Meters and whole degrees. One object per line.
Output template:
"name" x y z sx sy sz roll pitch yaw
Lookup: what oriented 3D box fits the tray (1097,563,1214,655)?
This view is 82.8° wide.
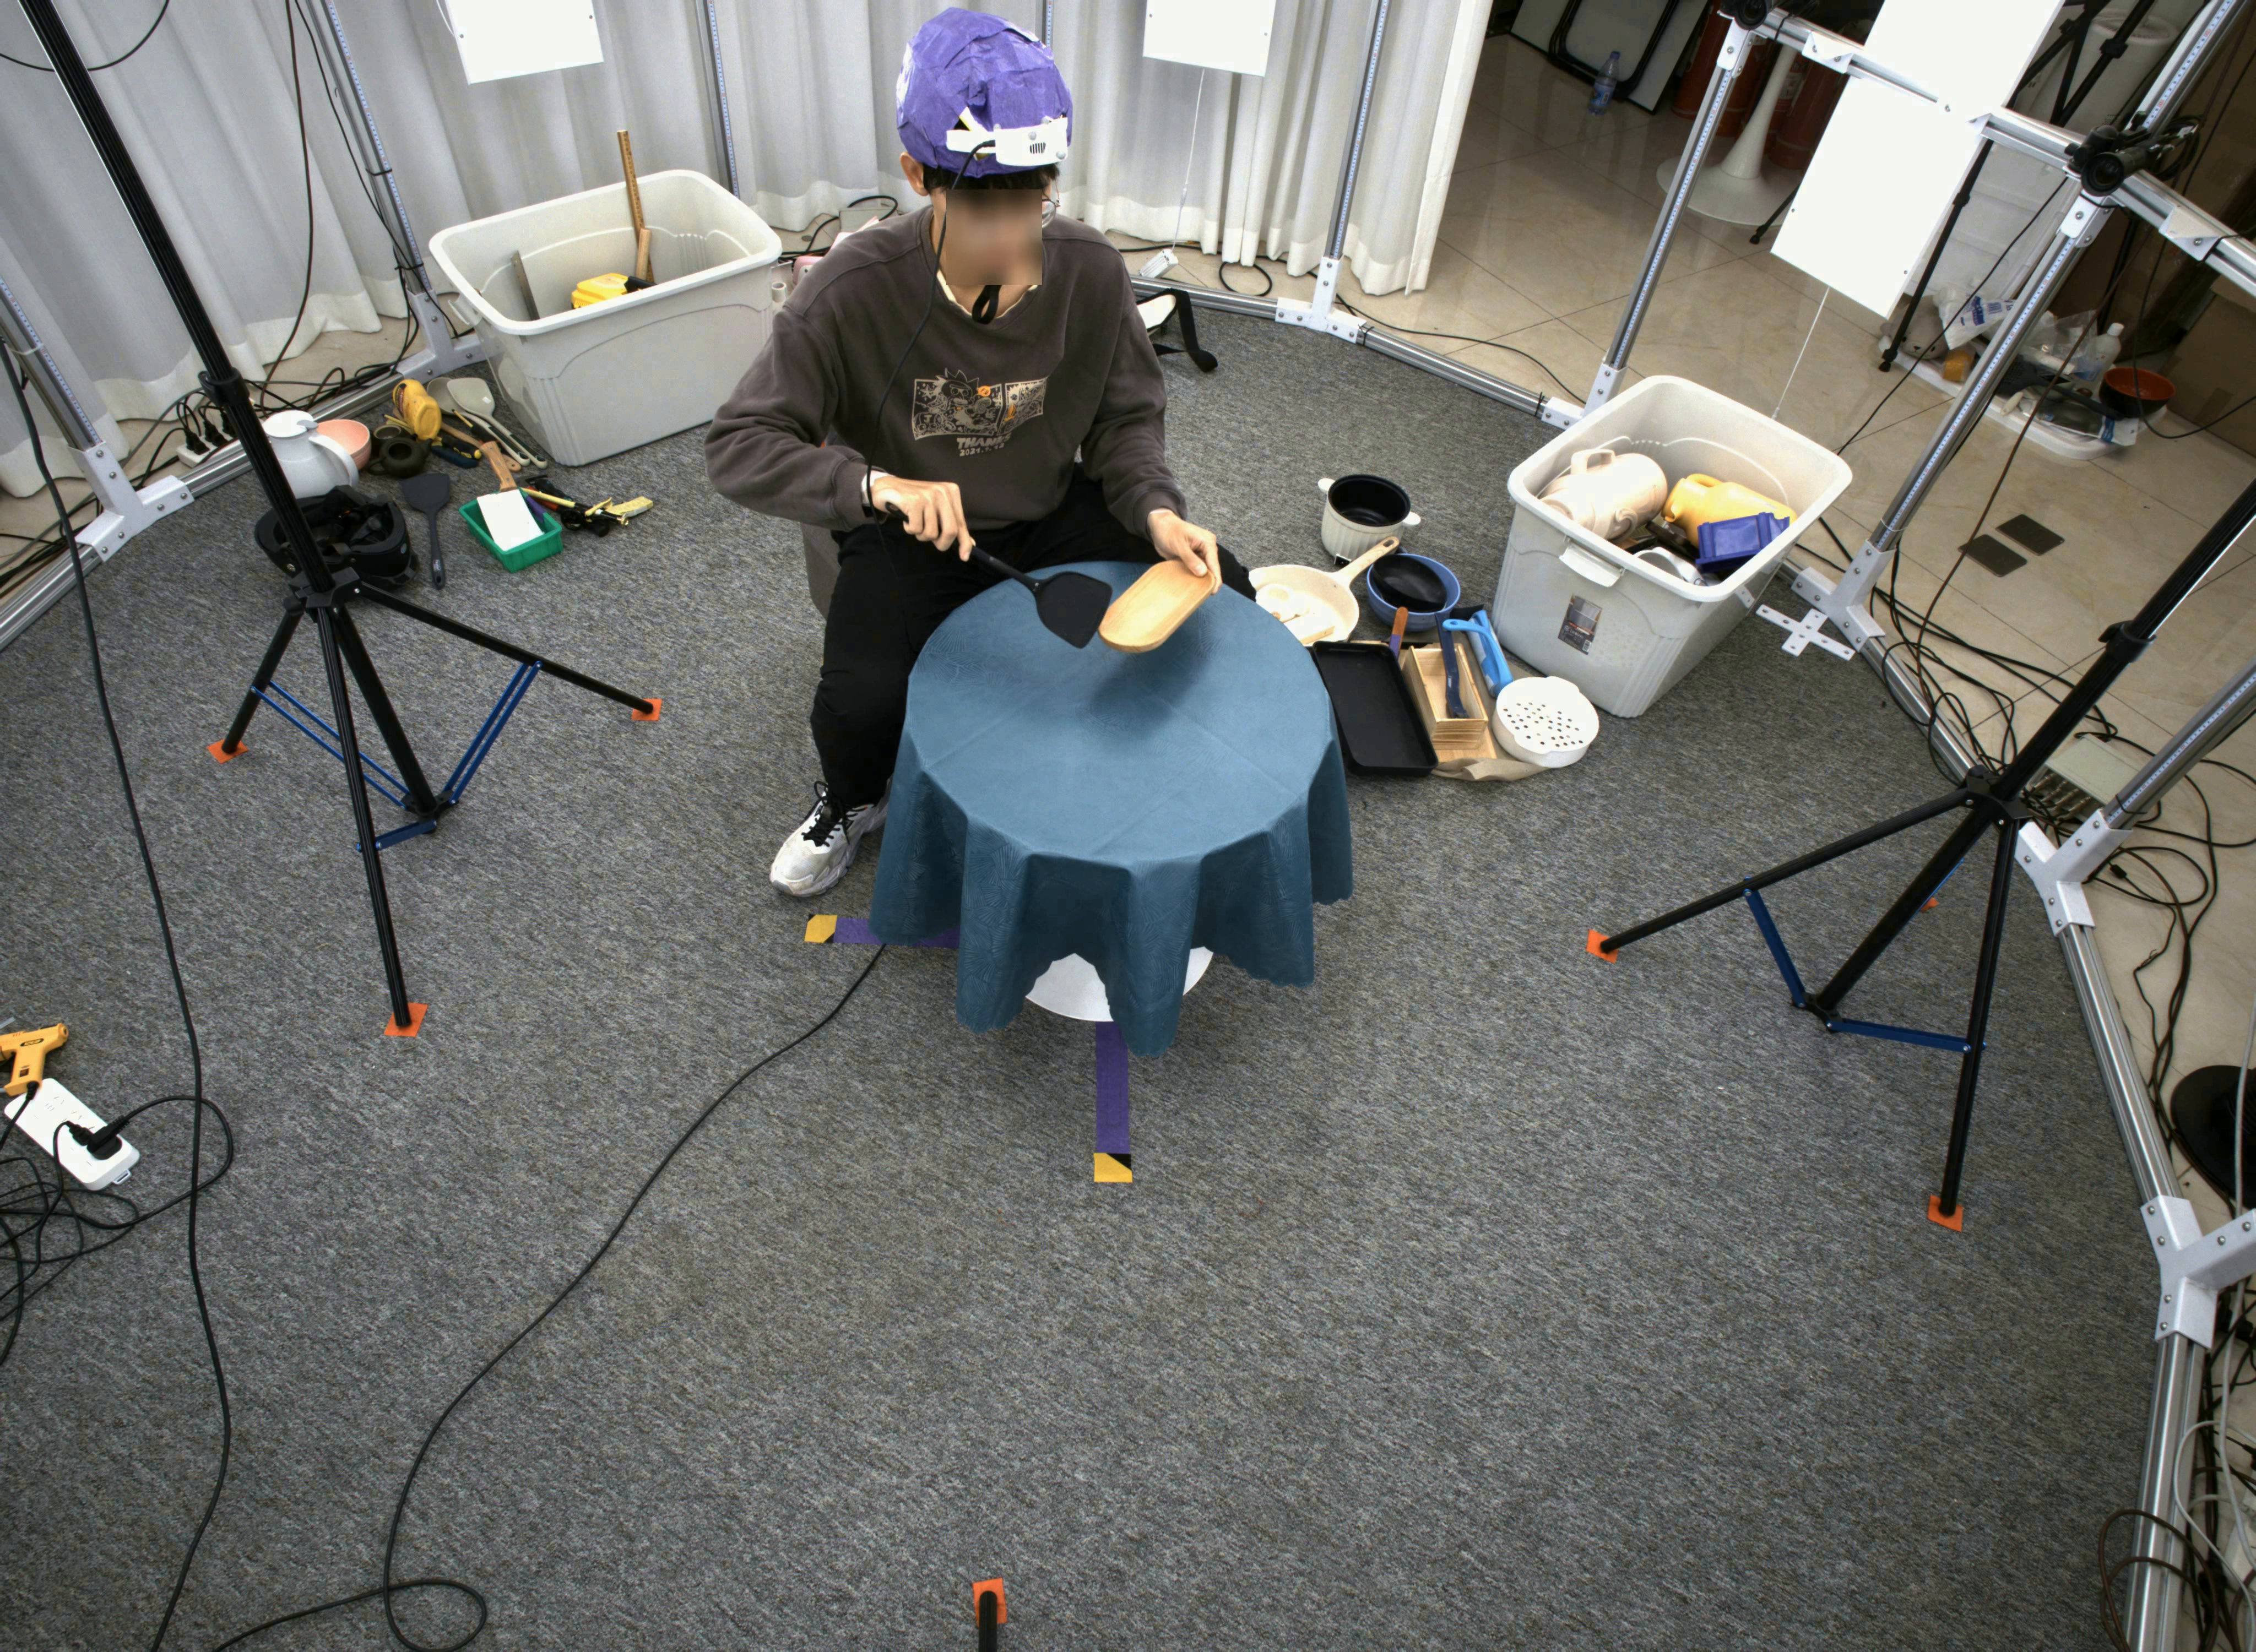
"tray" 0.041 -0.309 1.815 0.102 0.020 0.235 21 47 23

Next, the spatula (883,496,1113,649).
"spatula" -0.174 -0.349 1.708 0.322 0.100 0.041 27 -3 -23
